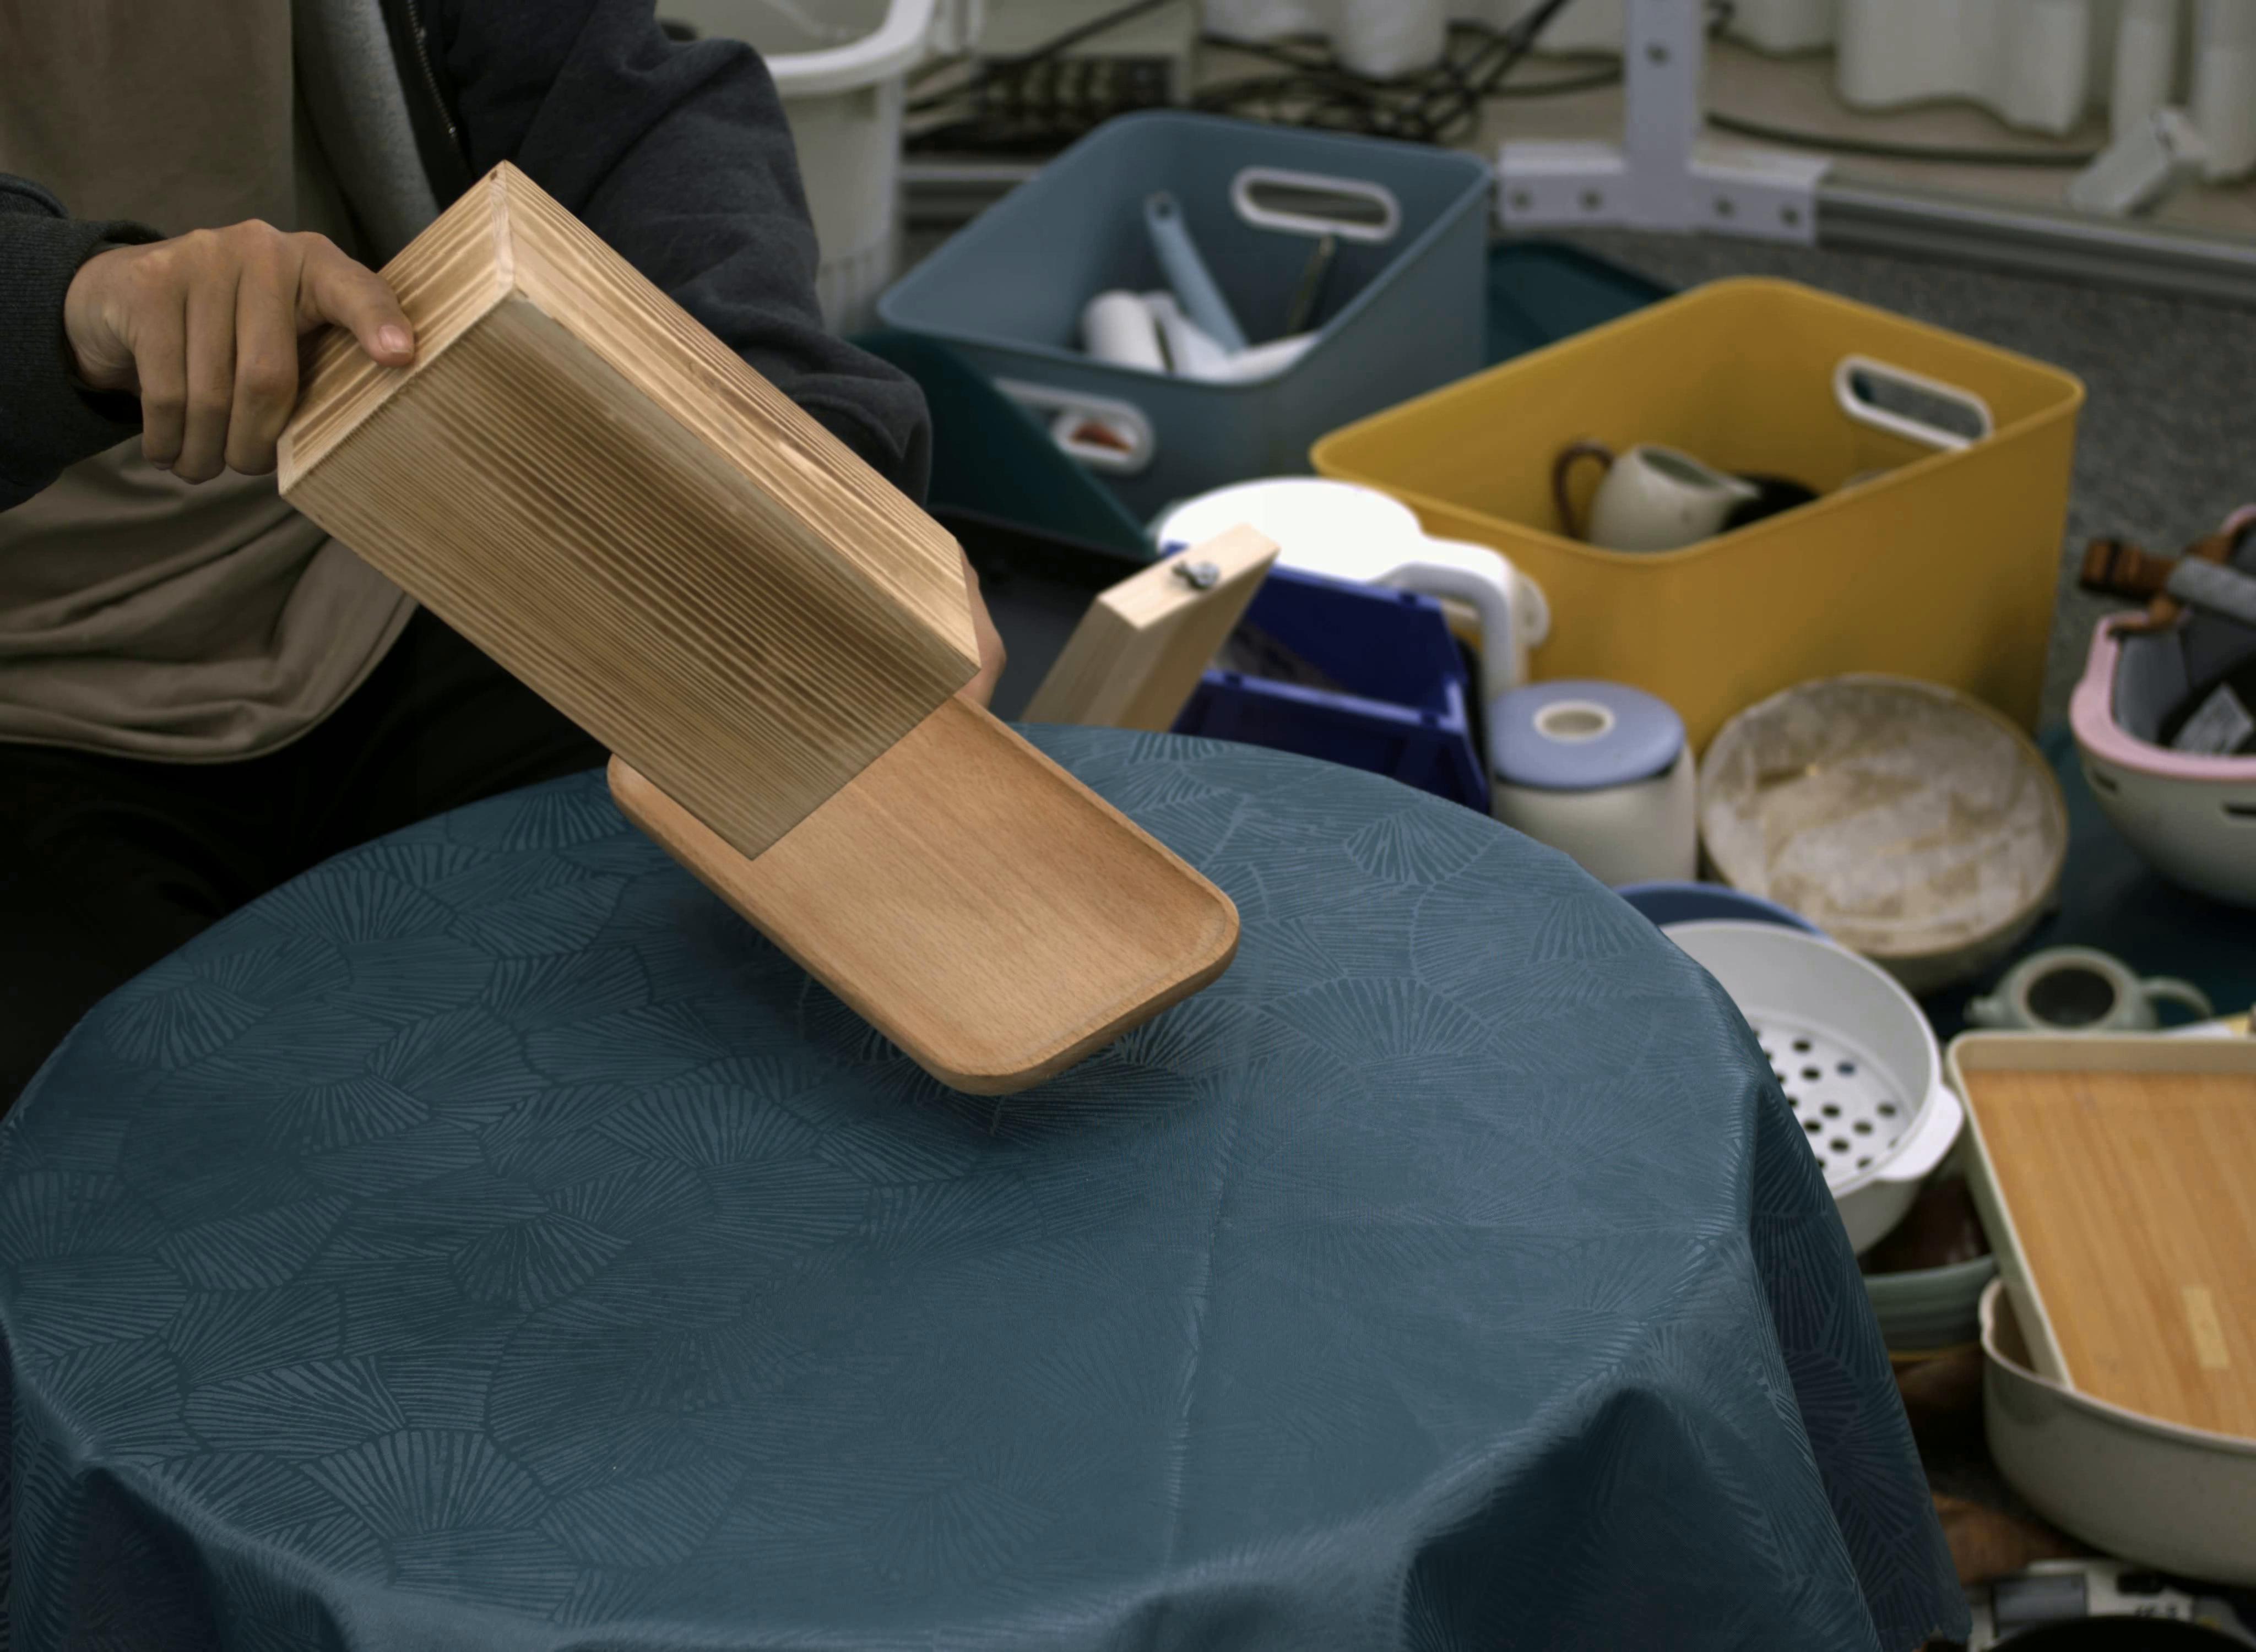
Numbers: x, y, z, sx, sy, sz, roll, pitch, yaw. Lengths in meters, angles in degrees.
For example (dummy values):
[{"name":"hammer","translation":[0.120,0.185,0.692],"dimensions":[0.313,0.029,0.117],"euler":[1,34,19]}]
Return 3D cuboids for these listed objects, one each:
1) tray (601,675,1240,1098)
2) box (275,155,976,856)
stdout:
[{"name":"tray","translation":[-0.075,0.011,1.974],"dimensions":[0.132,0.022,0.252],"euler":[-26,41,-27]},{"name":"box","translation":[-0.162,-0.101,1.817],"dimensions":[0.106,0.210,0.081],"euler":[-39,32,18]}]
